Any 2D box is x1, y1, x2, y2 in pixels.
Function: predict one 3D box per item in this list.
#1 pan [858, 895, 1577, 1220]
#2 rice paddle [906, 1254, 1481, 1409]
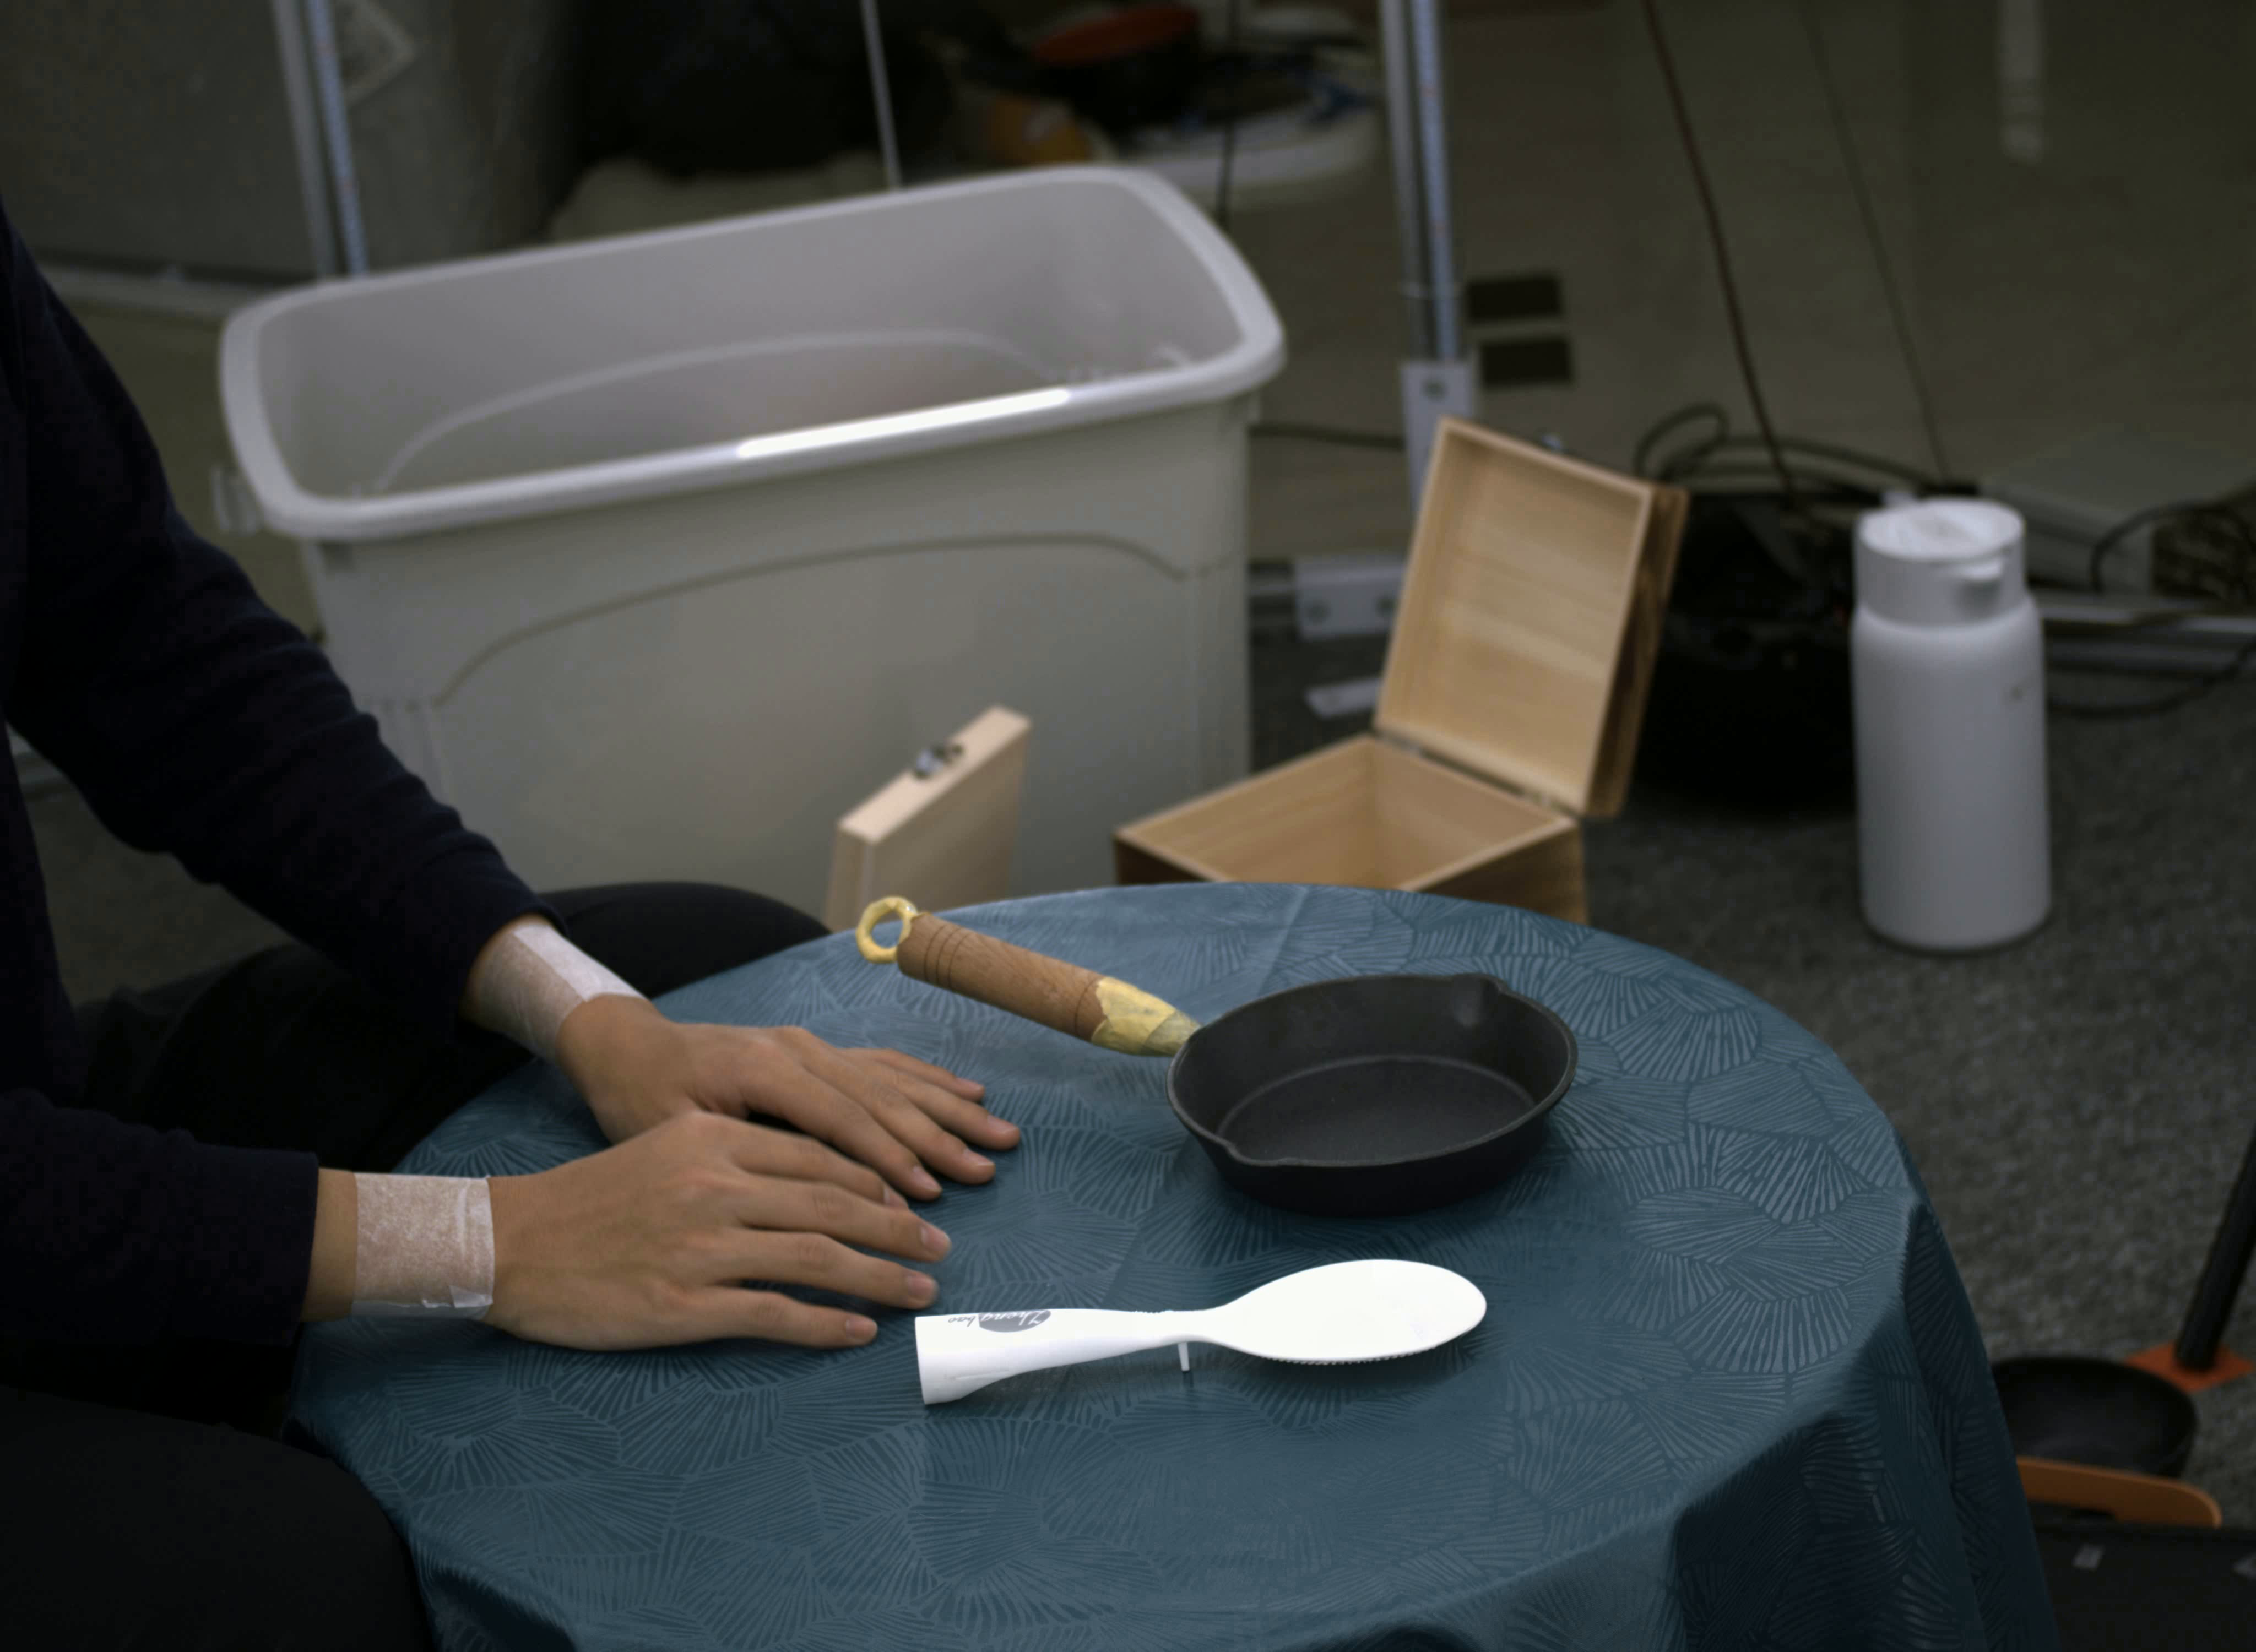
[{"bbox_3d":[0.026,0.082,2.202,0.322,0.050,0.167,14,32,35],"label":"pan"},{"bbox_3d":[0.024,0.178,2.022,0.205,0.030,0.068,-7,27,-1],"label":"rice paddle"}]
